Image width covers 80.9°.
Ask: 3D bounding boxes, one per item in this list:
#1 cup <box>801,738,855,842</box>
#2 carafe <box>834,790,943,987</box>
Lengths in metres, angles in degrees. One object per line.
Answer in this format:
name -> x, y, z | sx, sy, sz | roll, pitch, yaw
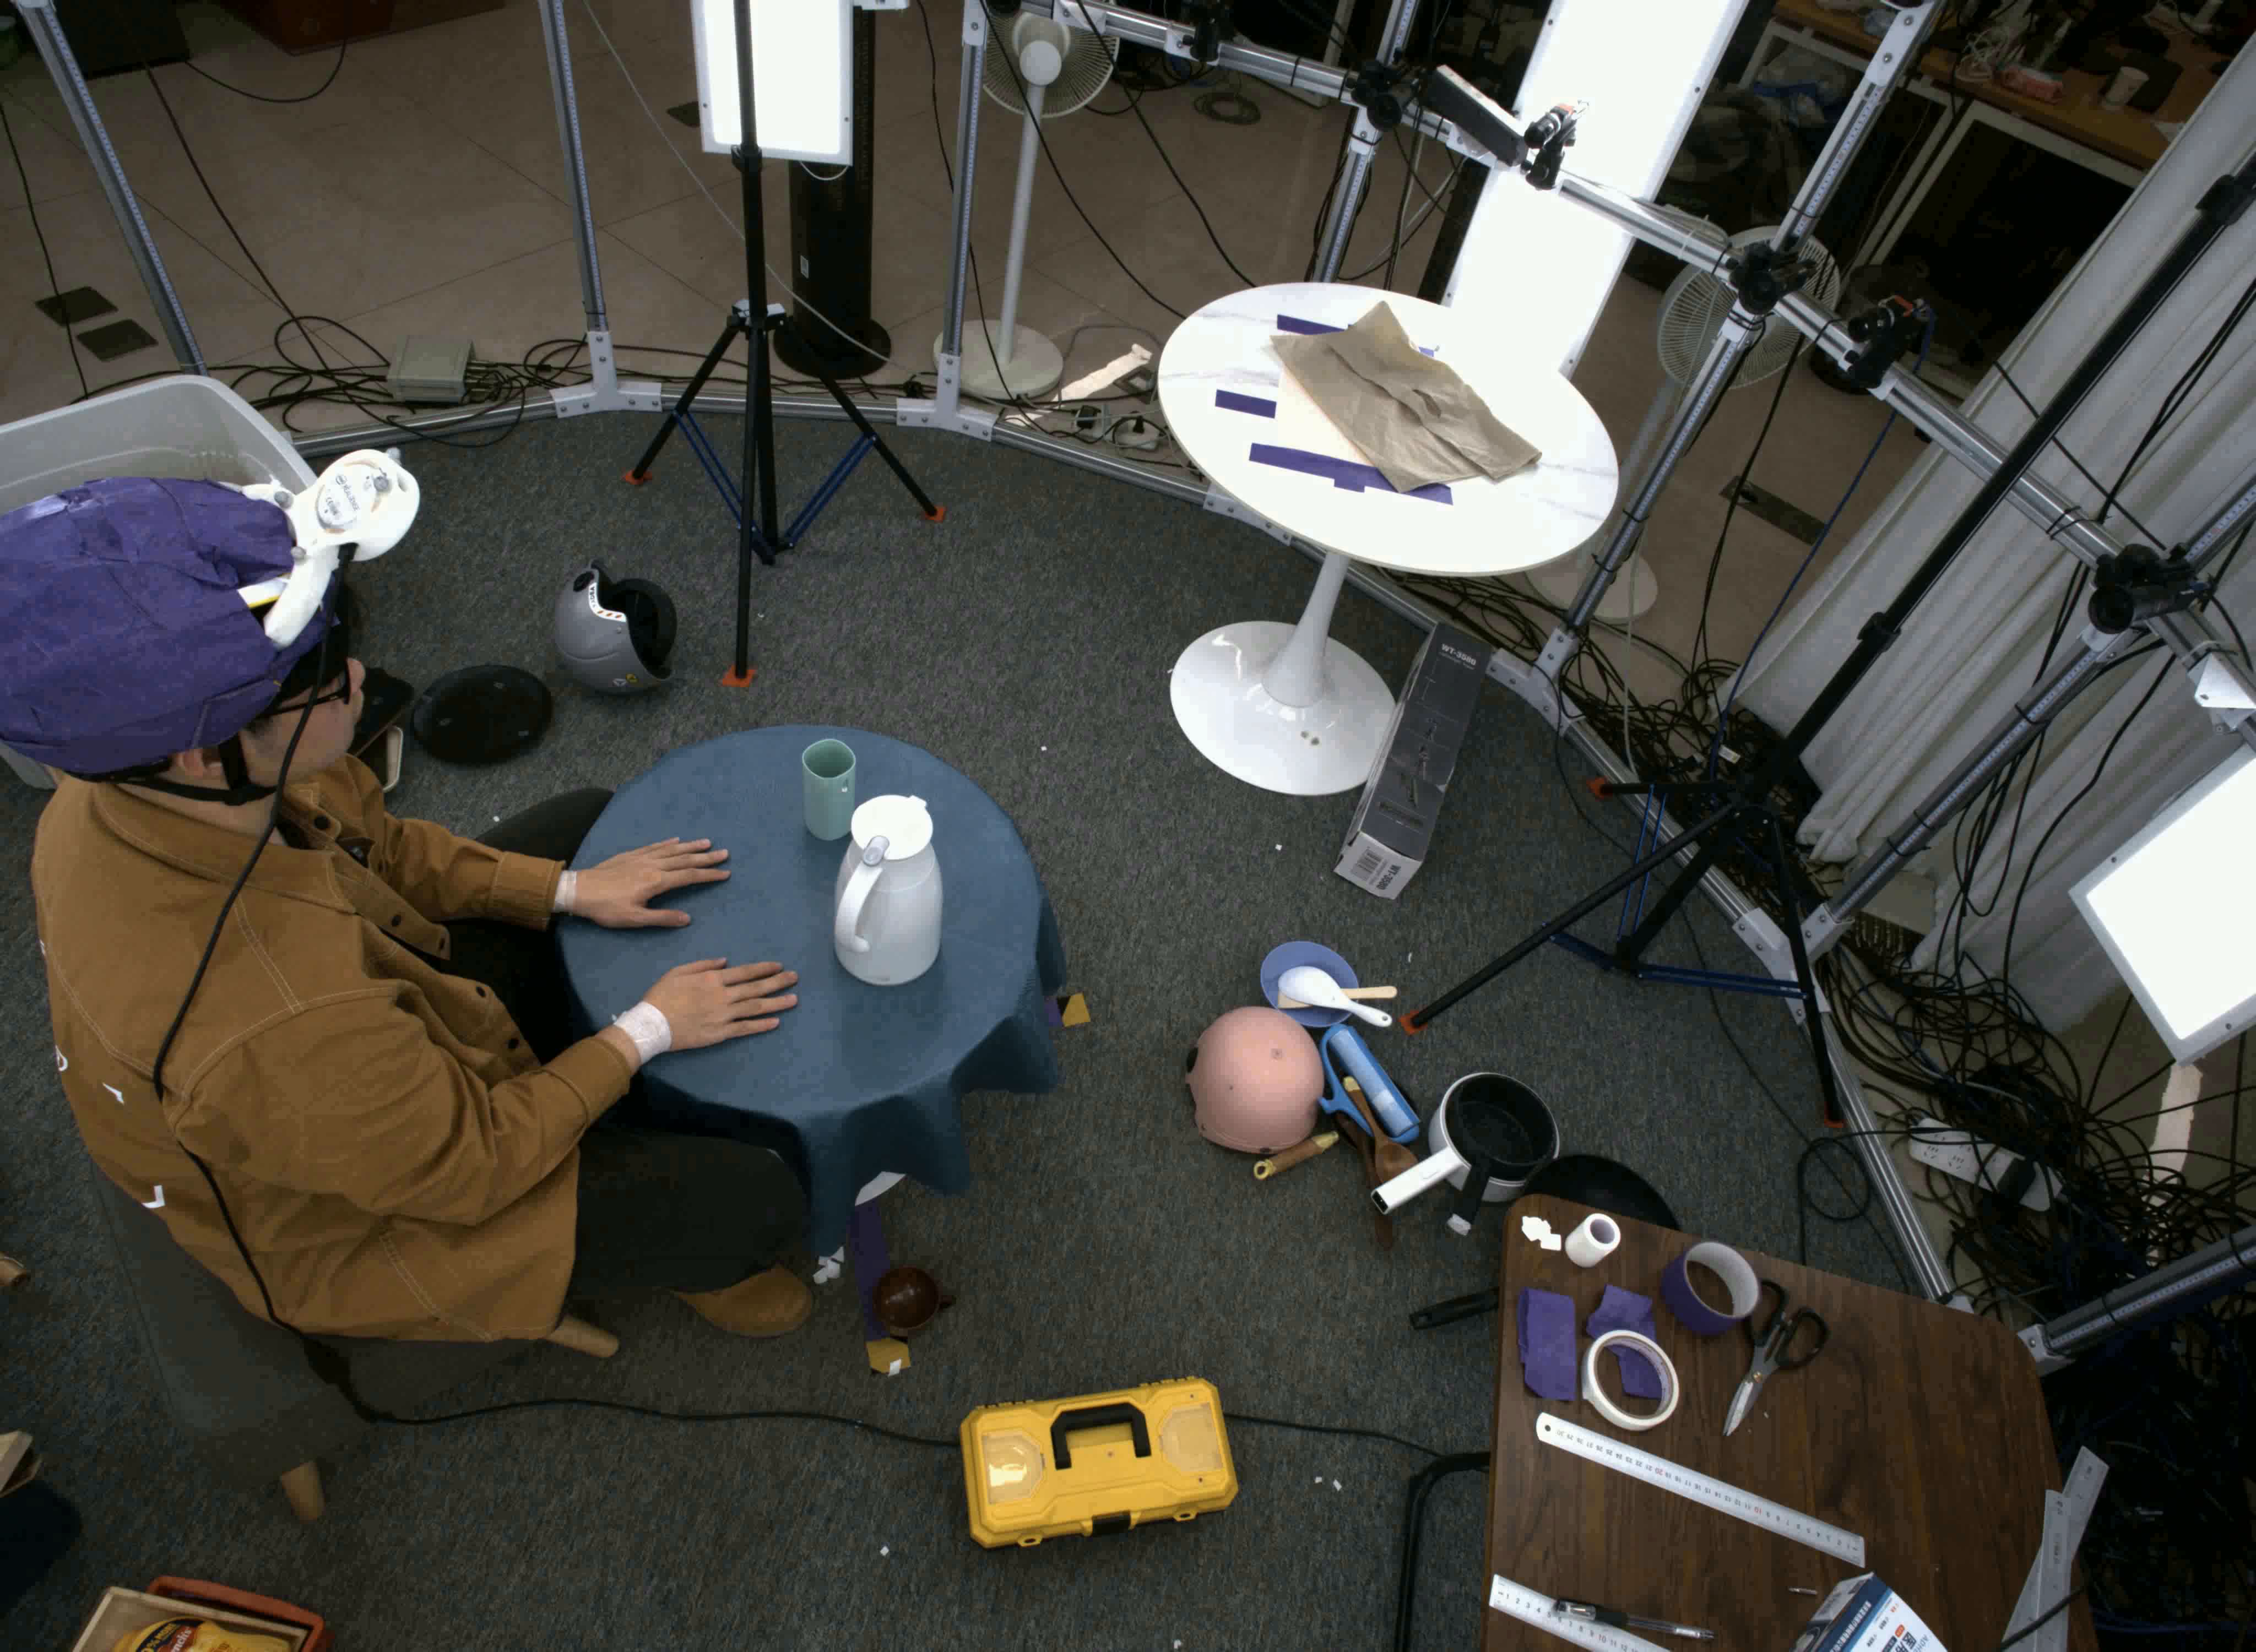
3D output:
cup -> -0.389, -0.046, 1.684 | 0.066, 0.135, 0.065 | 6, 51, -6
carafe -> -0.291, 0.081, 1.535 | 0.131, 0.254, 0.166 | 23, 52, 7
